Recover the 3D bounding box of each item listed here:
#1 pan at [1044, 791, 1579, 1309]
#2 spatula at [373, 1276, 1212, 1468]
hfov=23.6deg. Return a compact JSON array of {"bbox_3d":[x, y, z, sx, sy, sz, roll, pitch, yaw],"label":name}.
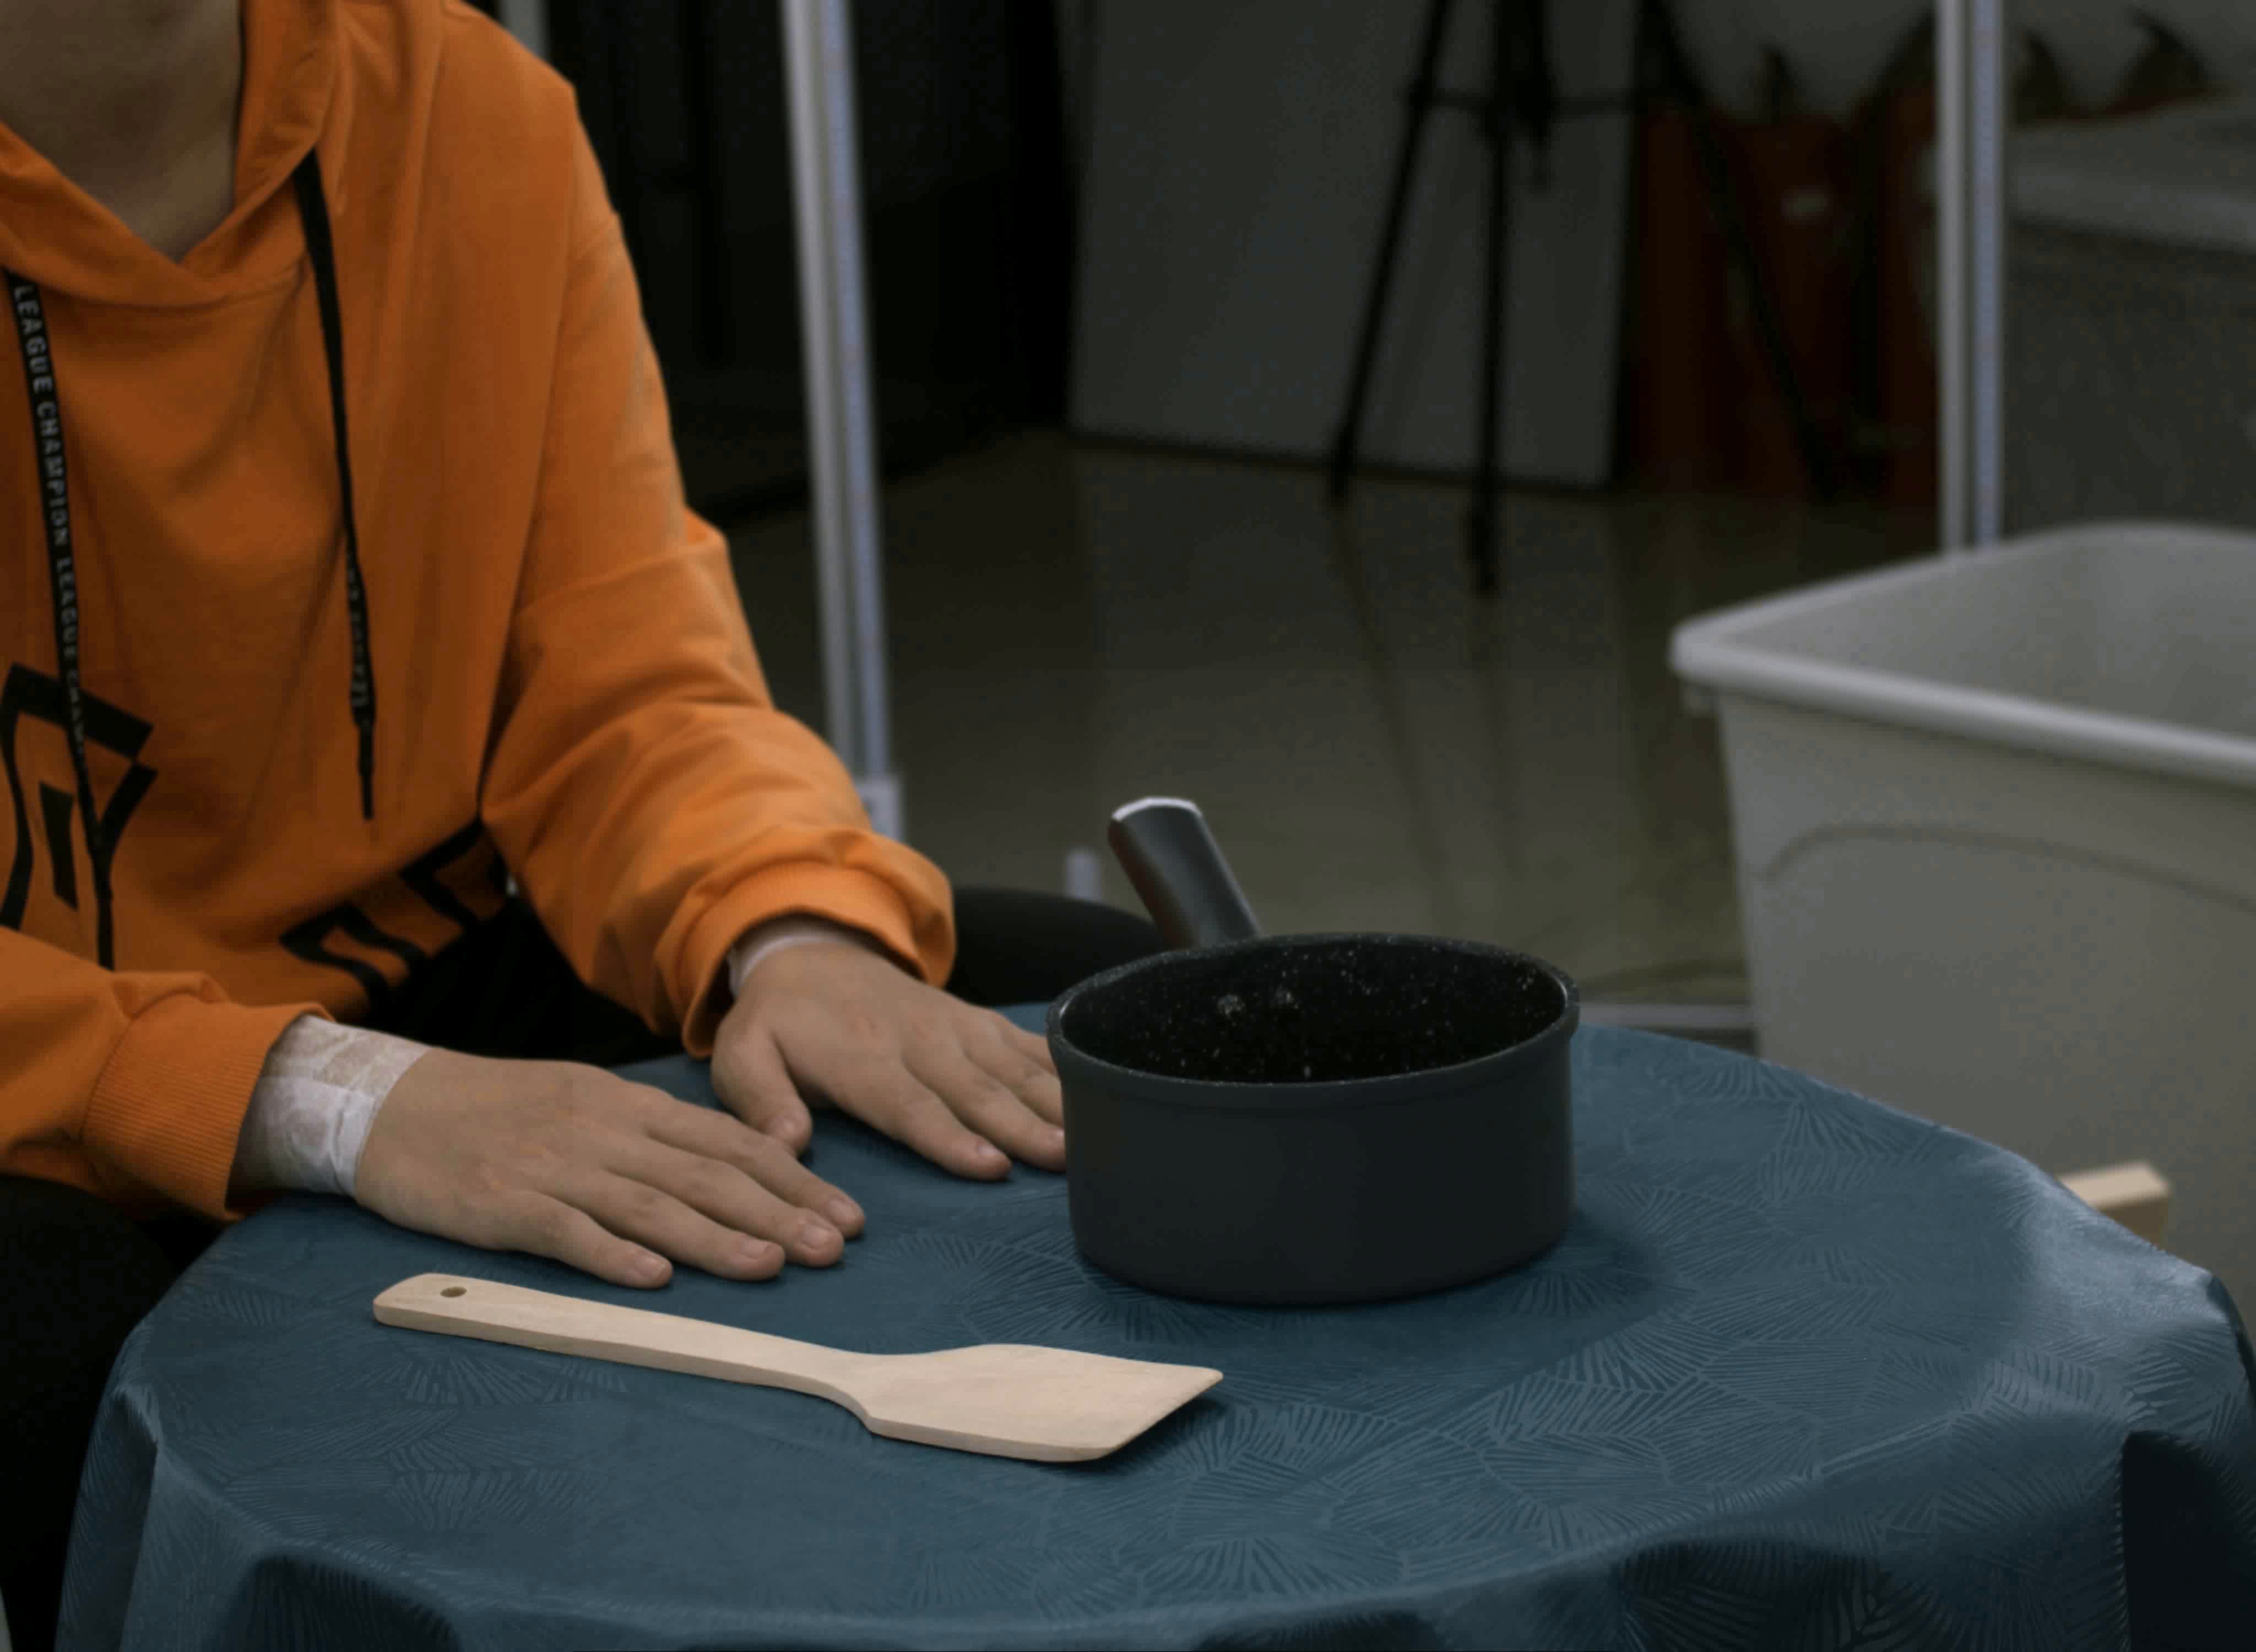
[{"bbox_3d":[0.047,0.070,1.786,0.169,0.087,0.330,-5,15,-8],"label":"pan"},{"bbox_3d":[-0.112,0.161,1.625,0.294,0.011,0.071,5,20,34],"label":"spatula"}]
